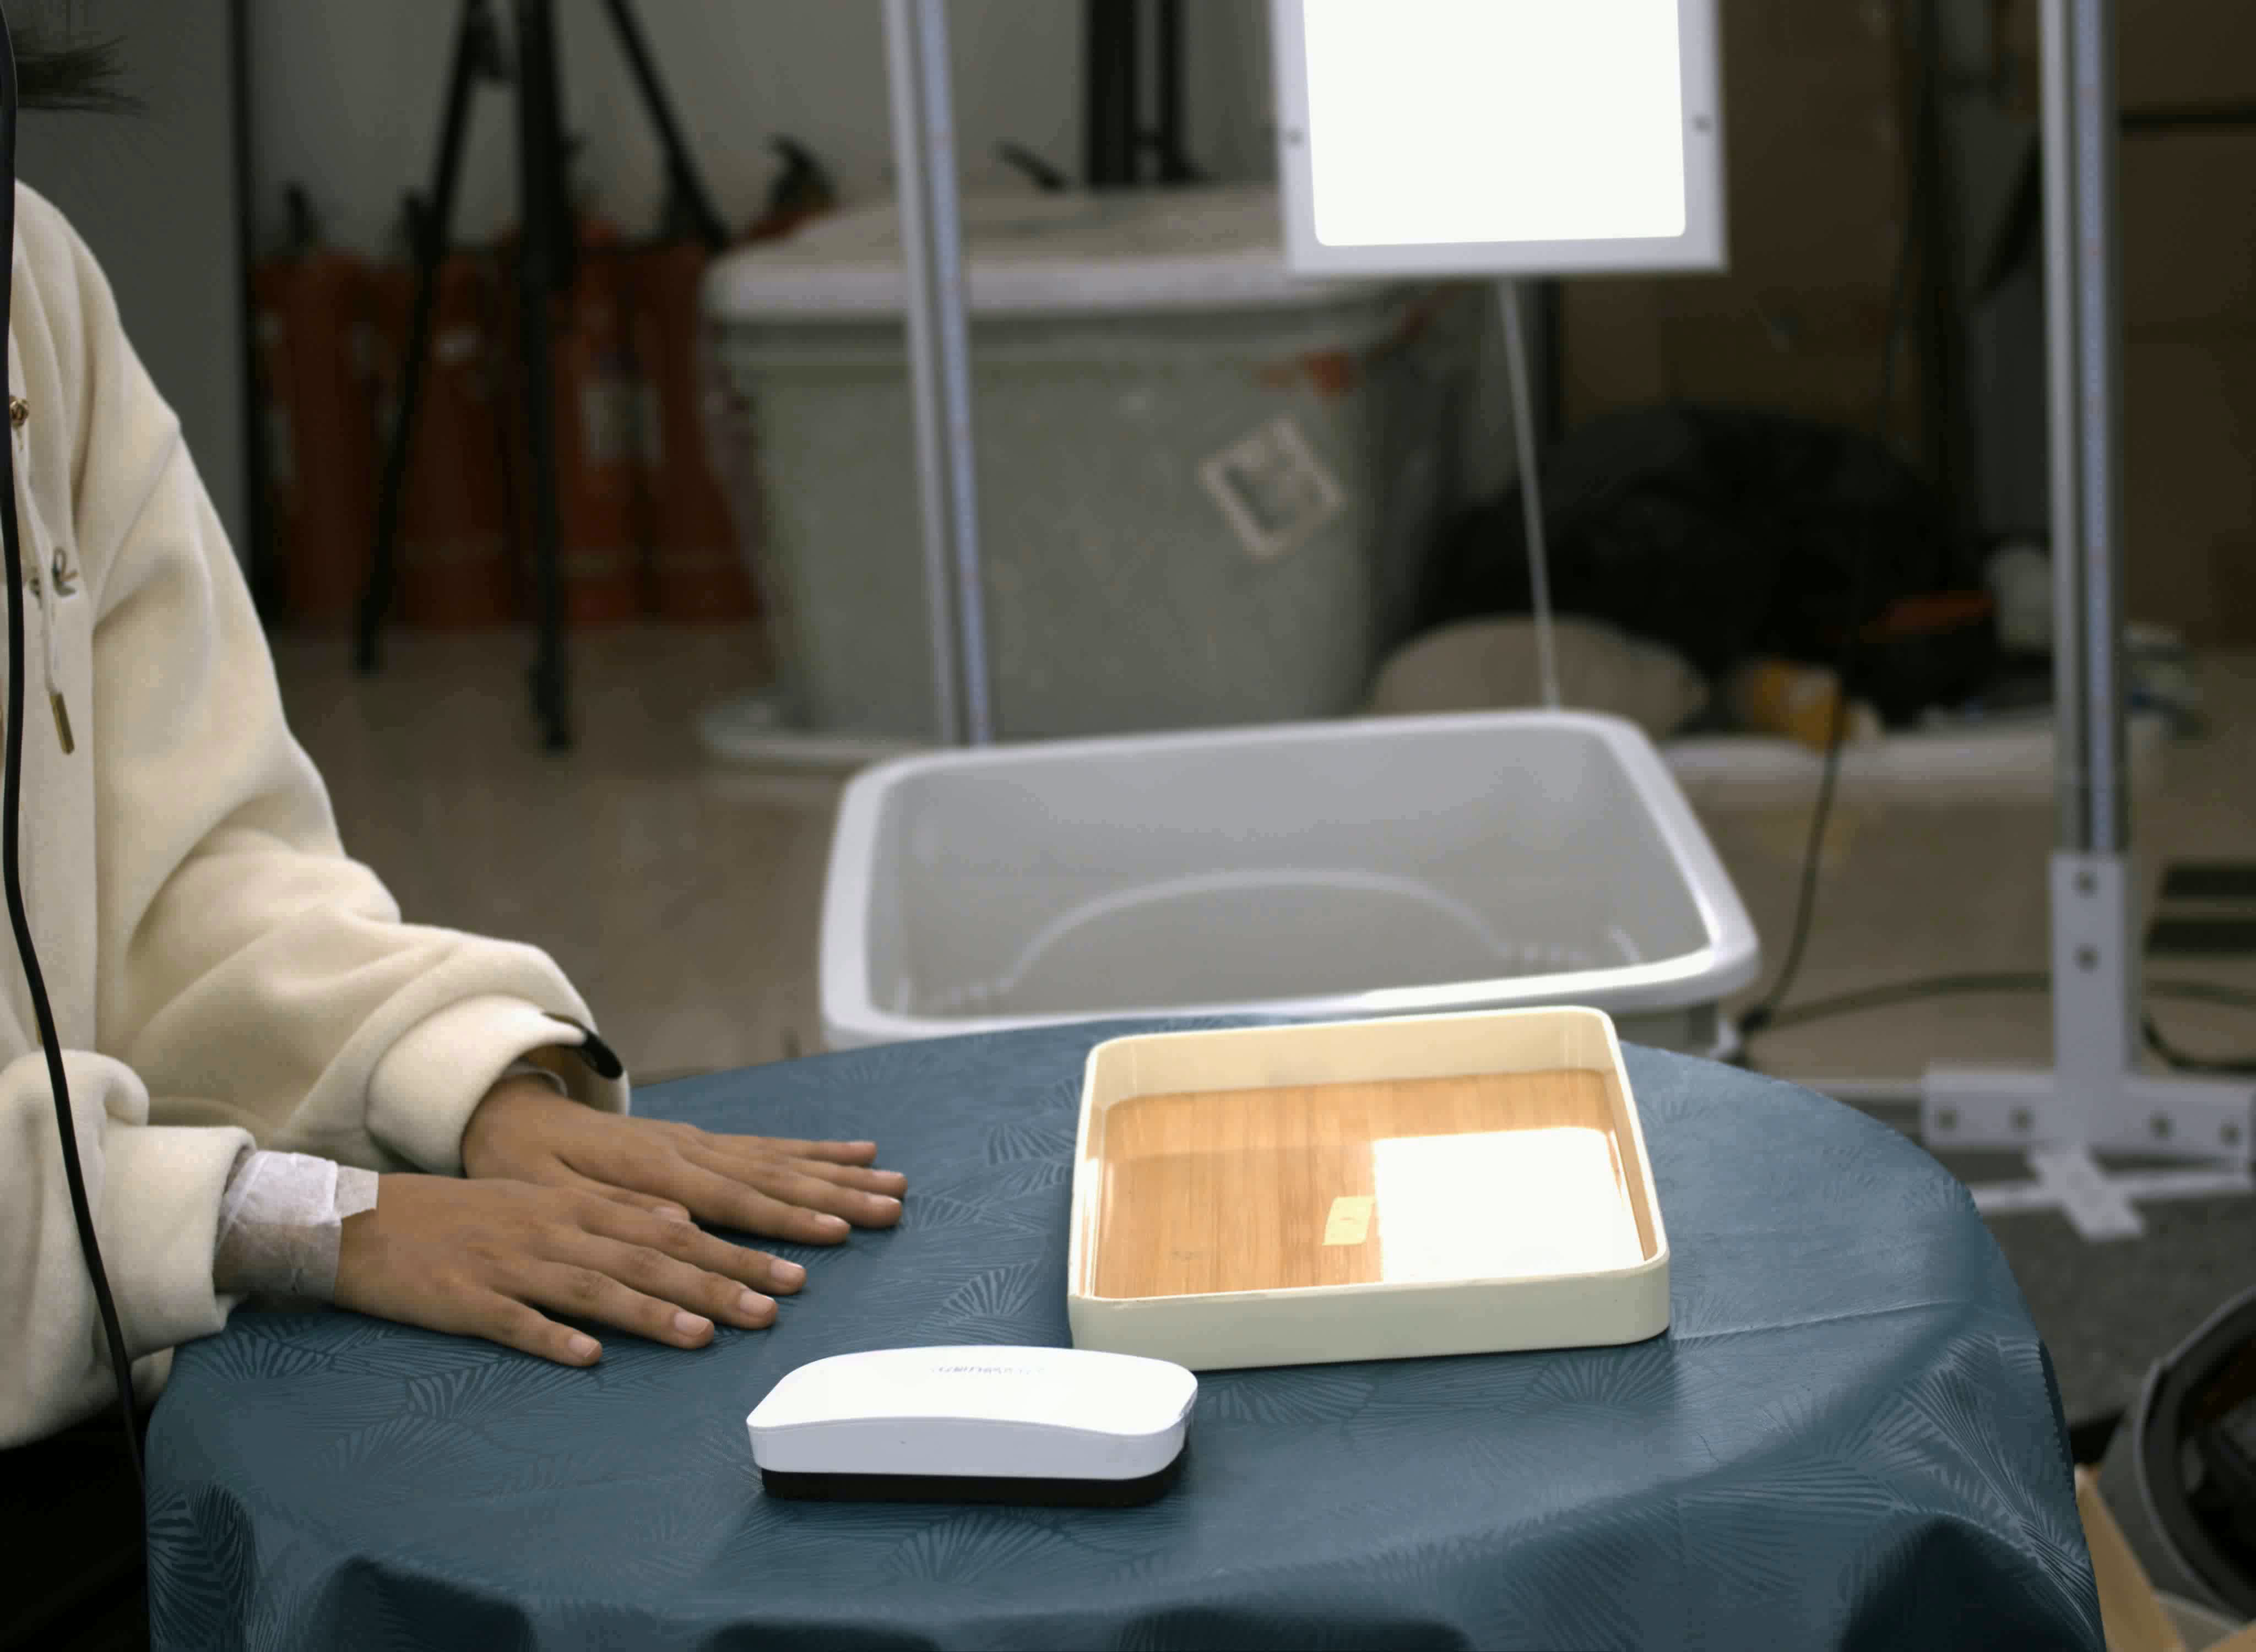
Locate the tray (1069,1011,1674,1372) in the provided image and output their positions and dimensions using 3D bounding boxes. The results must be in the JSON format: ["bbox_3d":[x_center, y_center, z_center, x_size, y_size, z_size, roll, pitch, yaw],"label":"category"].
[{"bbox_3d":[0.079,0.119,1.844,0.192,0.027,0.299,-4,14,3],"label":"tray"}]

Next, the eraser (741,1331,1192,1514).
[{"bbox_3d":[-0.047,0.178,1.642,0.133,0.034,0.062,0,16,19],"label":"eraser"}]
